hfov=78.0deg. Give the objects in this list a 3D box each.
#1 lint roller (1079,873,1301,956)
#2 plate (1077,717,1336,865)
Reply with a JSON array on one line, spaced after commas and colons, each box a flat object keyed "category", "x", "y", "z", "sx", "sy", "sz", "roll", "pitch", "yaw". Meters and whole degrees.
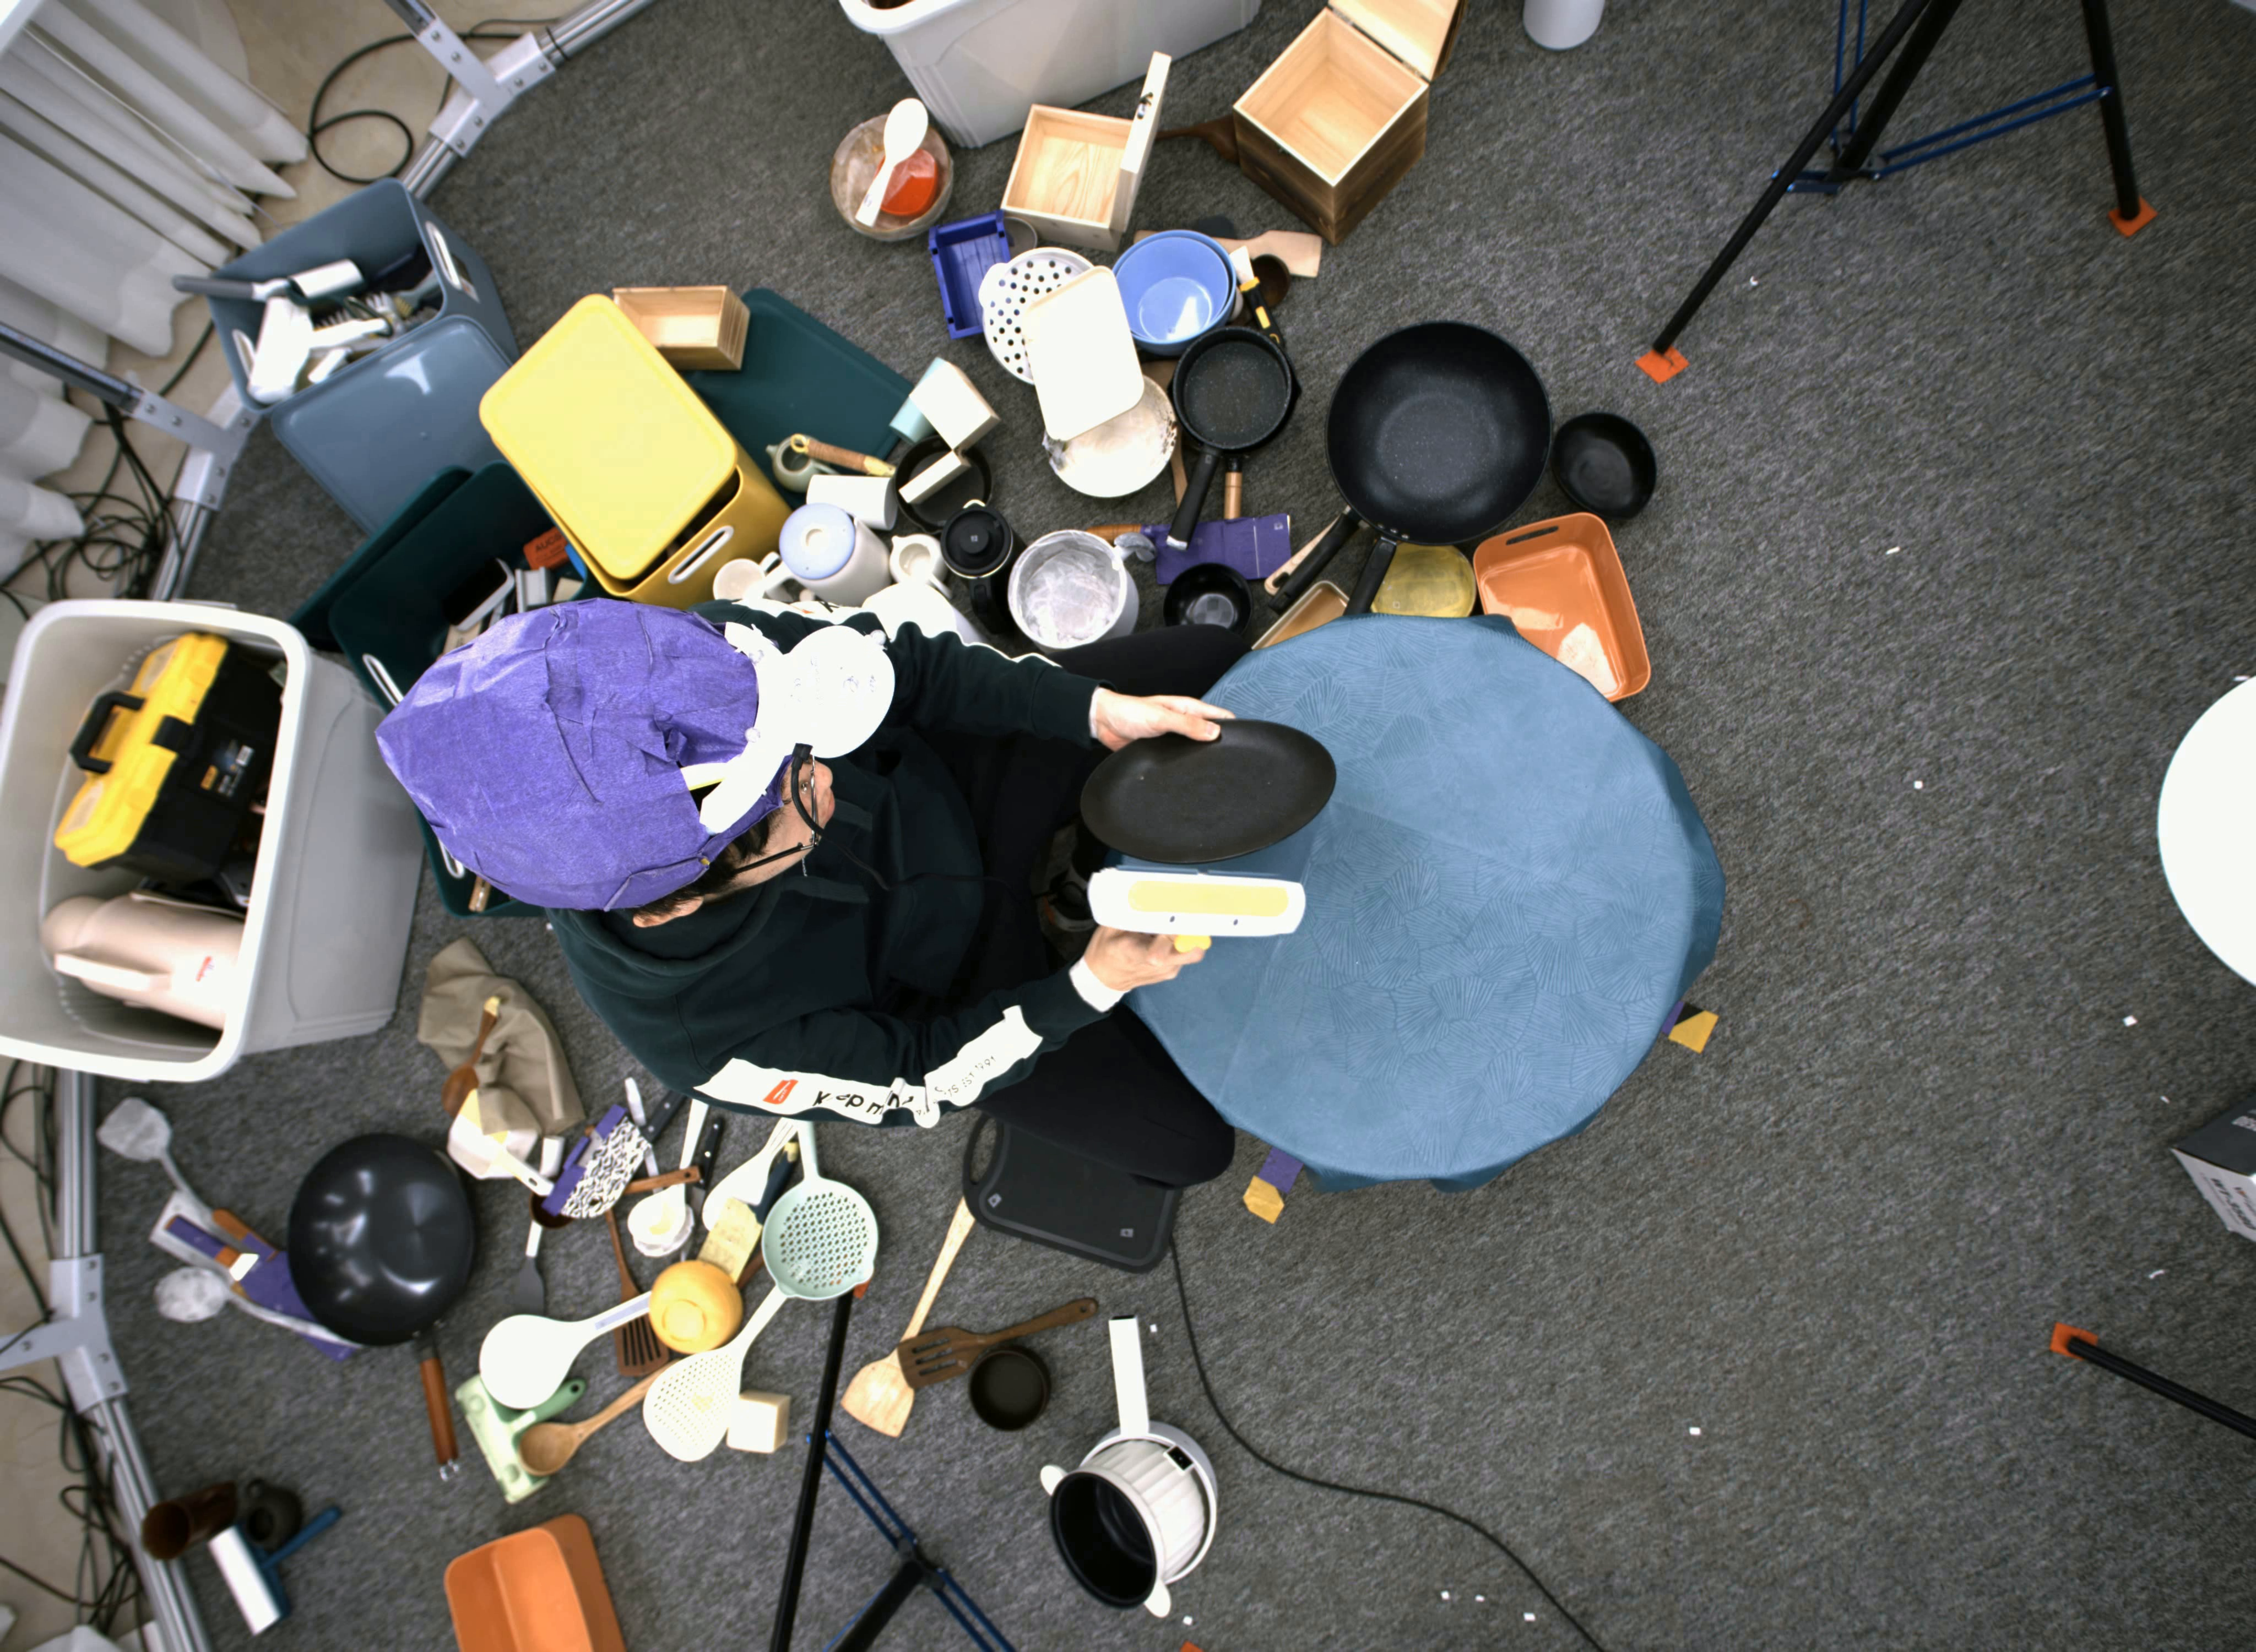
[{"category": "lint roller", "x": 0.043, "y": 0.081, "z": 1.260, "sx": 0.192, "sy": 0.194, "sz": 0.074, "roll": -2, "pitch": 84, "yaw": -12}, {"category": "plate", "x": 0.073, "y": -0.031, "z": 1.299, "sx": 0.245, "sy": 0.238, "sz": 0.024, "roll": -6, "pitch": 126, "yaw": 10}]
